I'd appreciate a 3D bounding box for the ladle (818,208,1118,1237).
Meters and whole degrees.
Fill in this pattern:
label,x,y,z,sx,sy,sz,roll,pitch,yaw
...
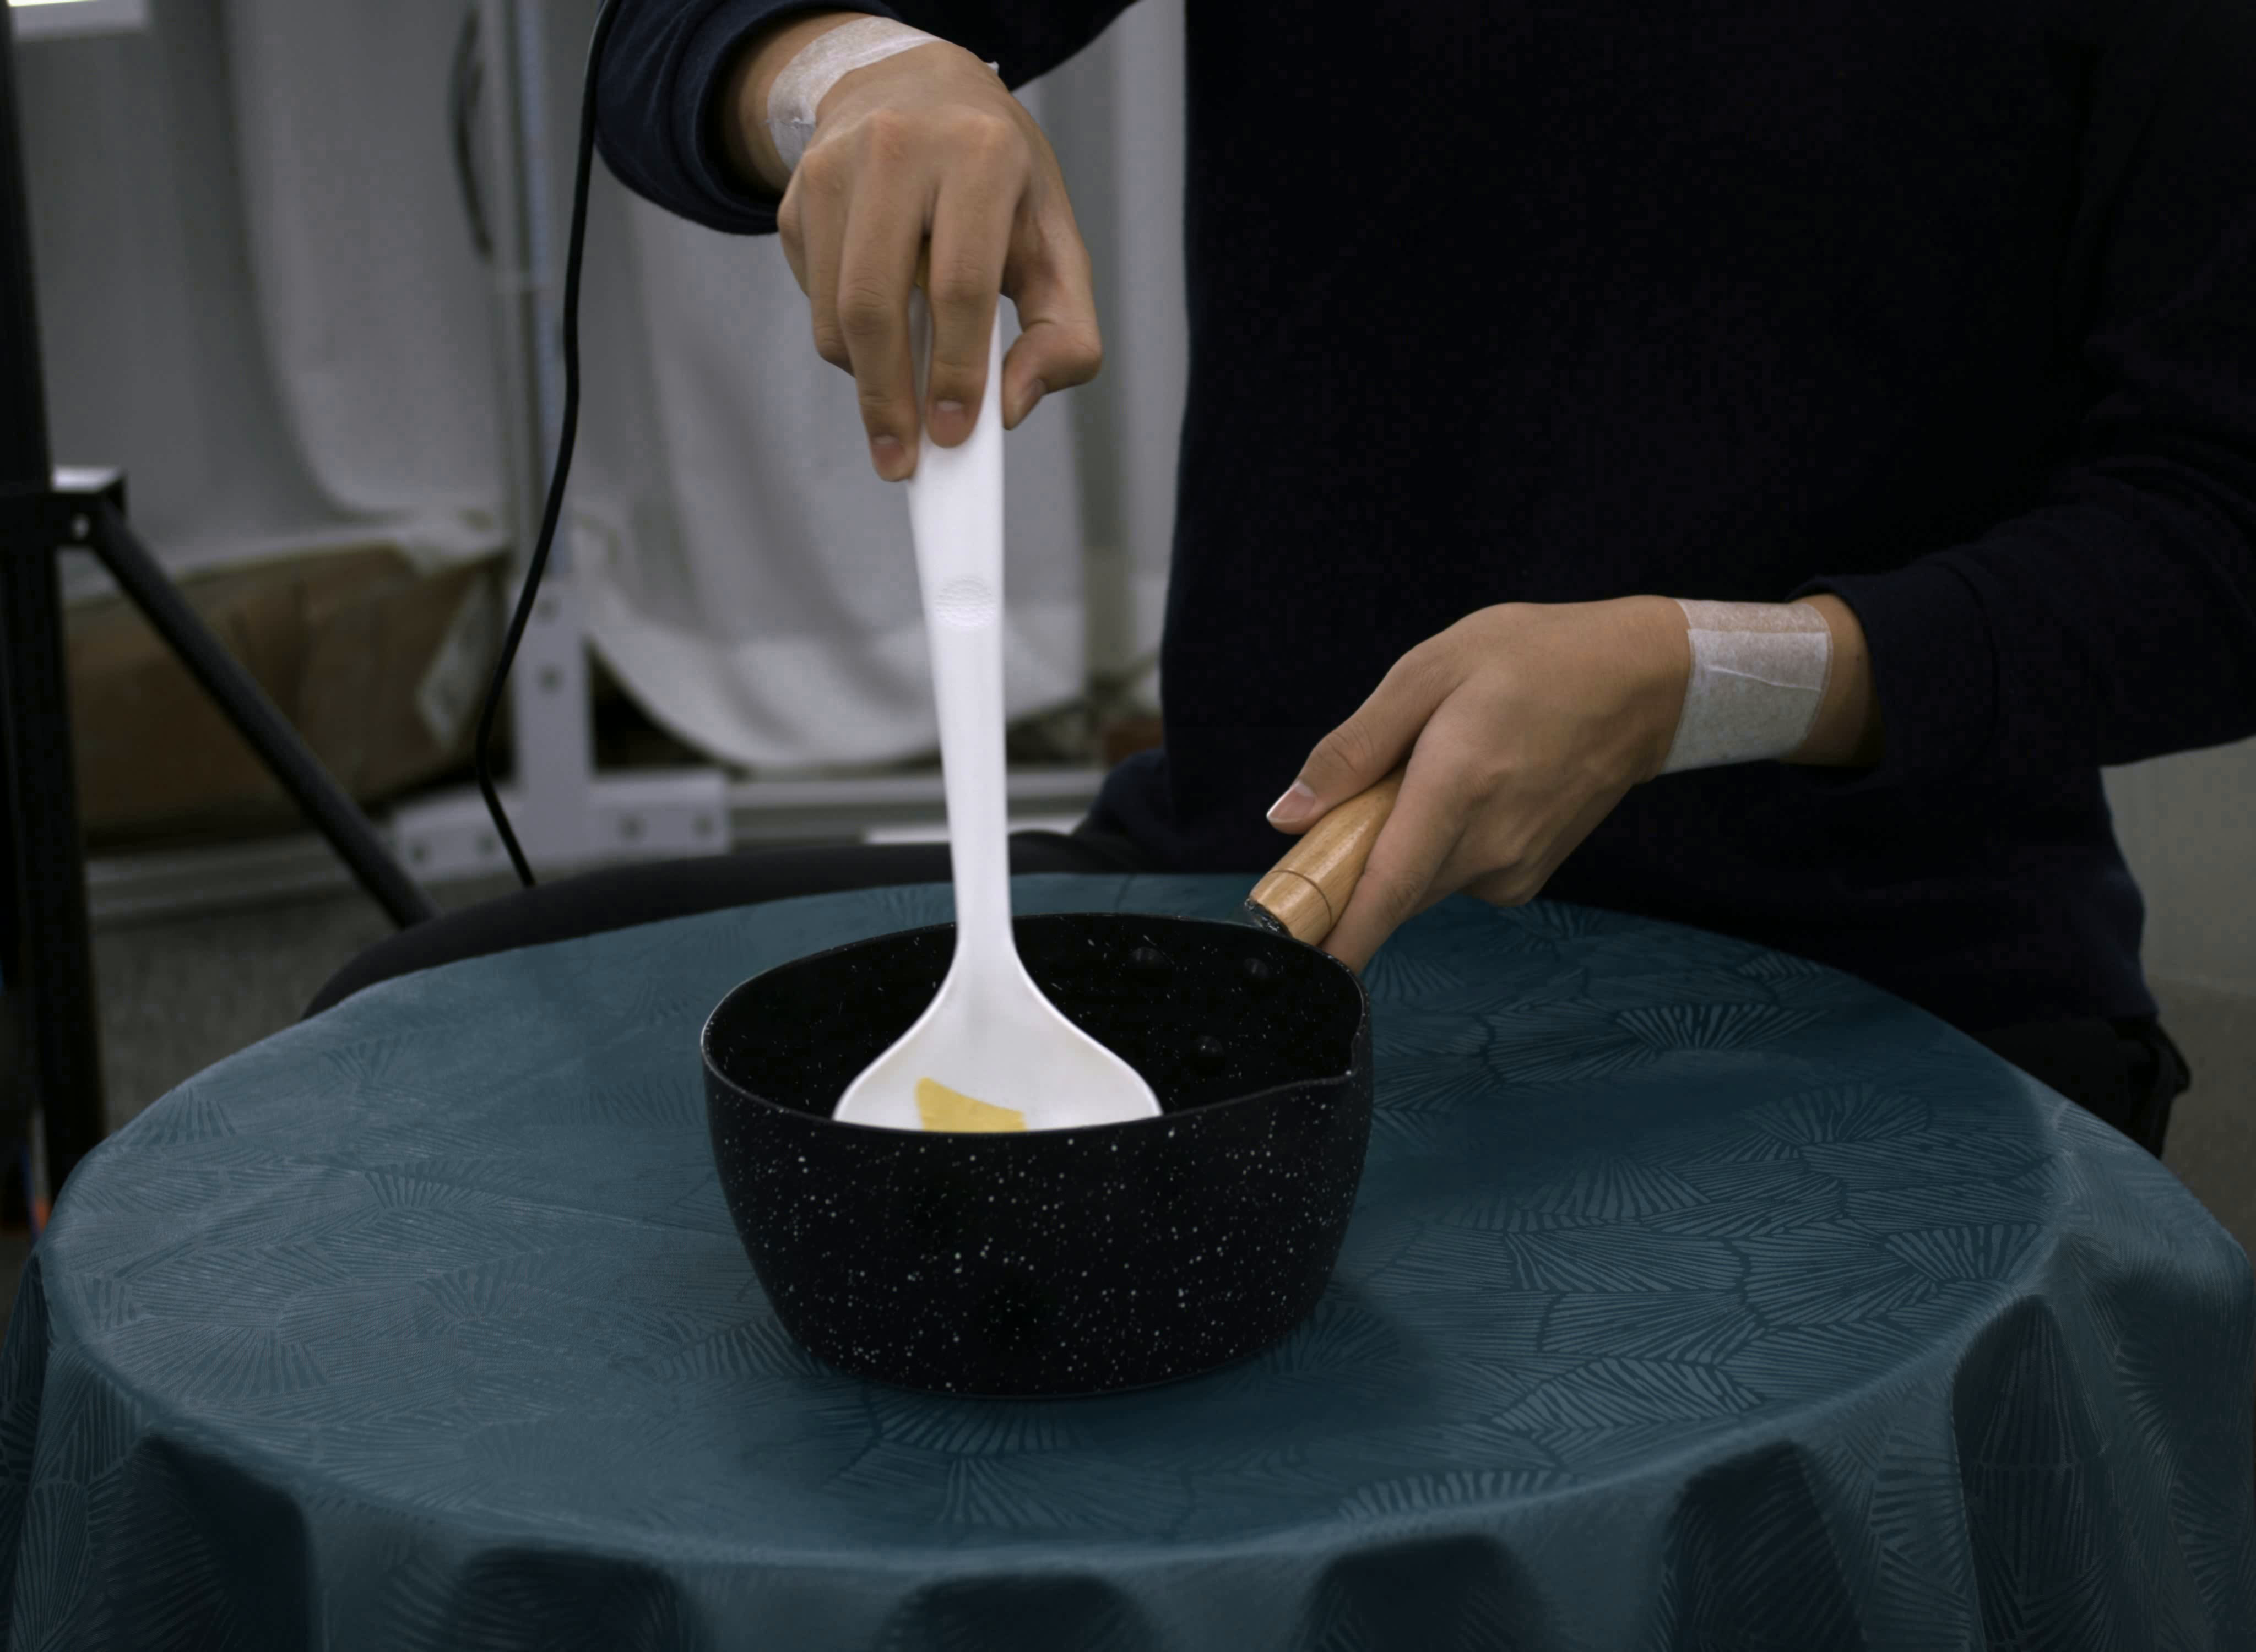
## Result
label,x,y,z,sx,sy,sz,roll,pitch,yaw
ladle,-0.049,-0.029,1.449,0.090,0.295,0.069,-4,-11,7

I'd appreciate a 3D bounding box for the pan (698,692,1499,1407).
label,x,y,z,sx,sy,sz,roll,pitch,yaw
pan,0.017,0.059,1.520,0.211,0.108,0.337,6,21,32
